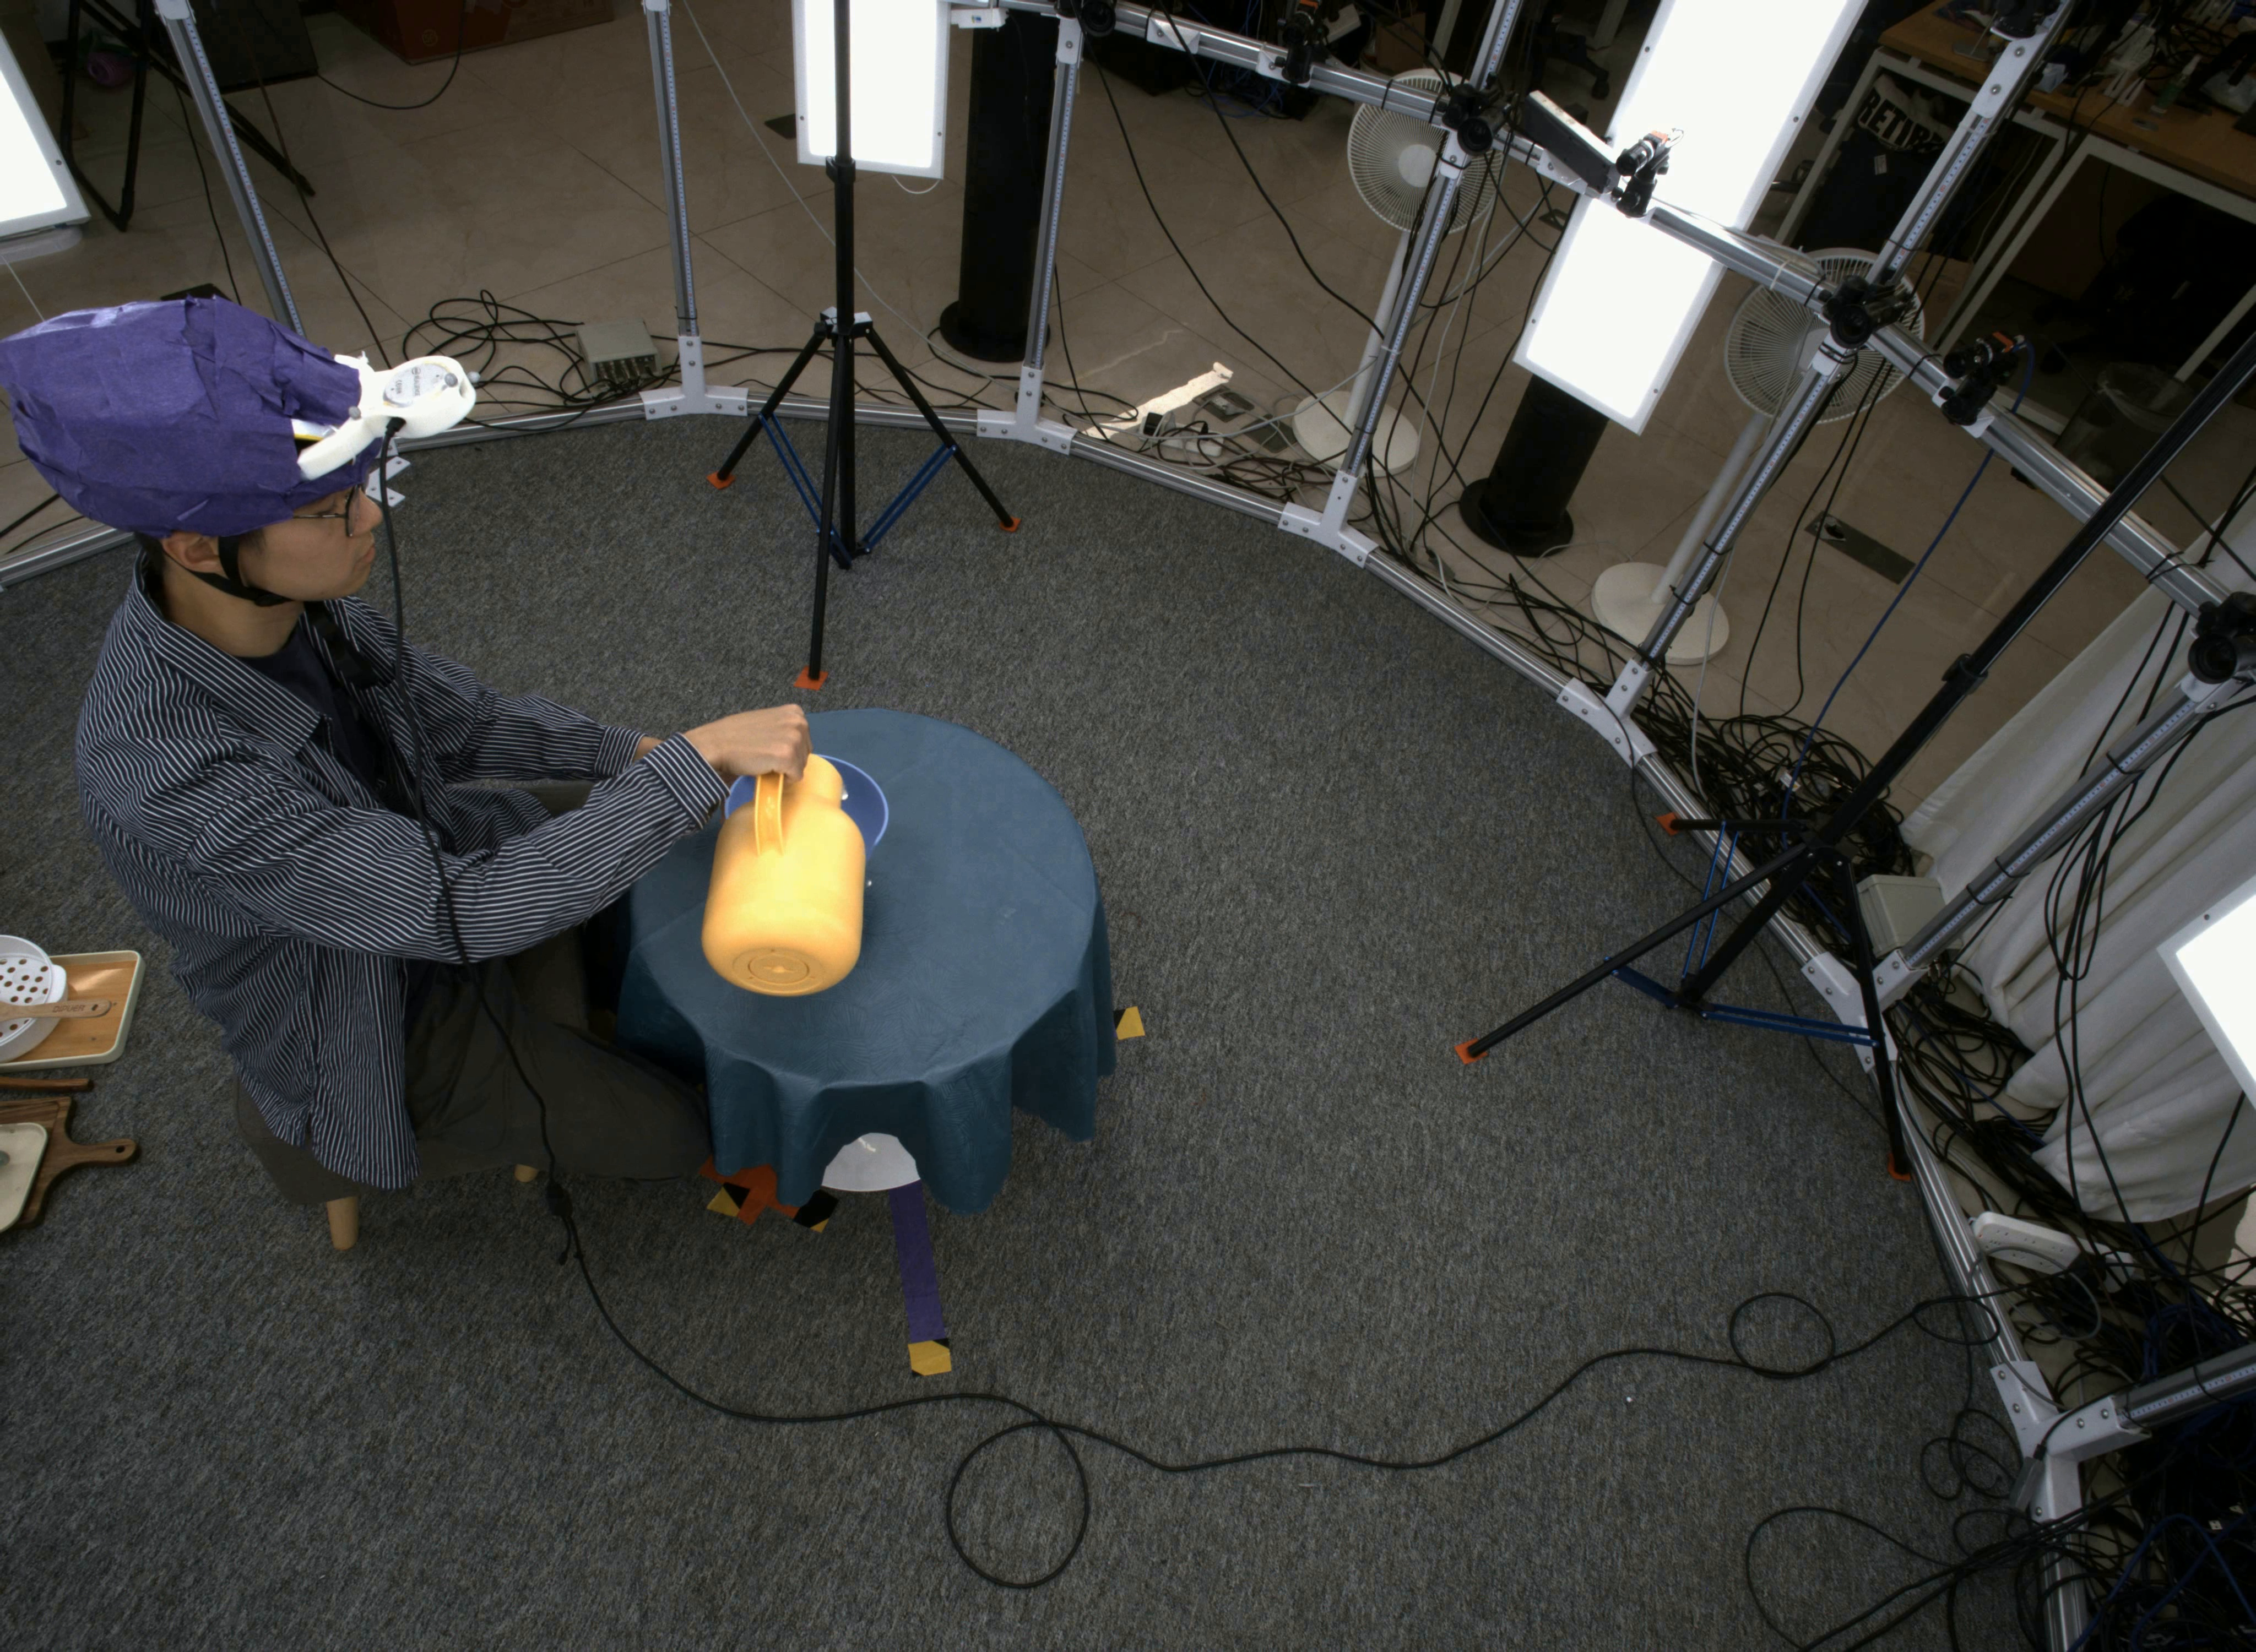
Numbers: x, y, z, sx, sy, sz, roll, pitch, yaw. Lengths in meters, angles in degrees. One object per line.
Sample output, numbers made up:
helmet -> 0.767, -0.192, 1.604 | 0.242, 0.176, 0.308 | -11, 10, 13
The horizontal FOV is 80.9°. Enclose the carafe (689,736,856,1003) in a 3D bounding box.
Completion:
carafe -> -0.379, 0.036, 1.390 | 0.162, 0.208, 0.256 | -1, 56, -3

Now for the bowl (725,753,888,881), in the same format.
bowl -> -0.401, 0.011, 1.617 | 0.196, 0.097, 0.192 | 10, 46, -9
